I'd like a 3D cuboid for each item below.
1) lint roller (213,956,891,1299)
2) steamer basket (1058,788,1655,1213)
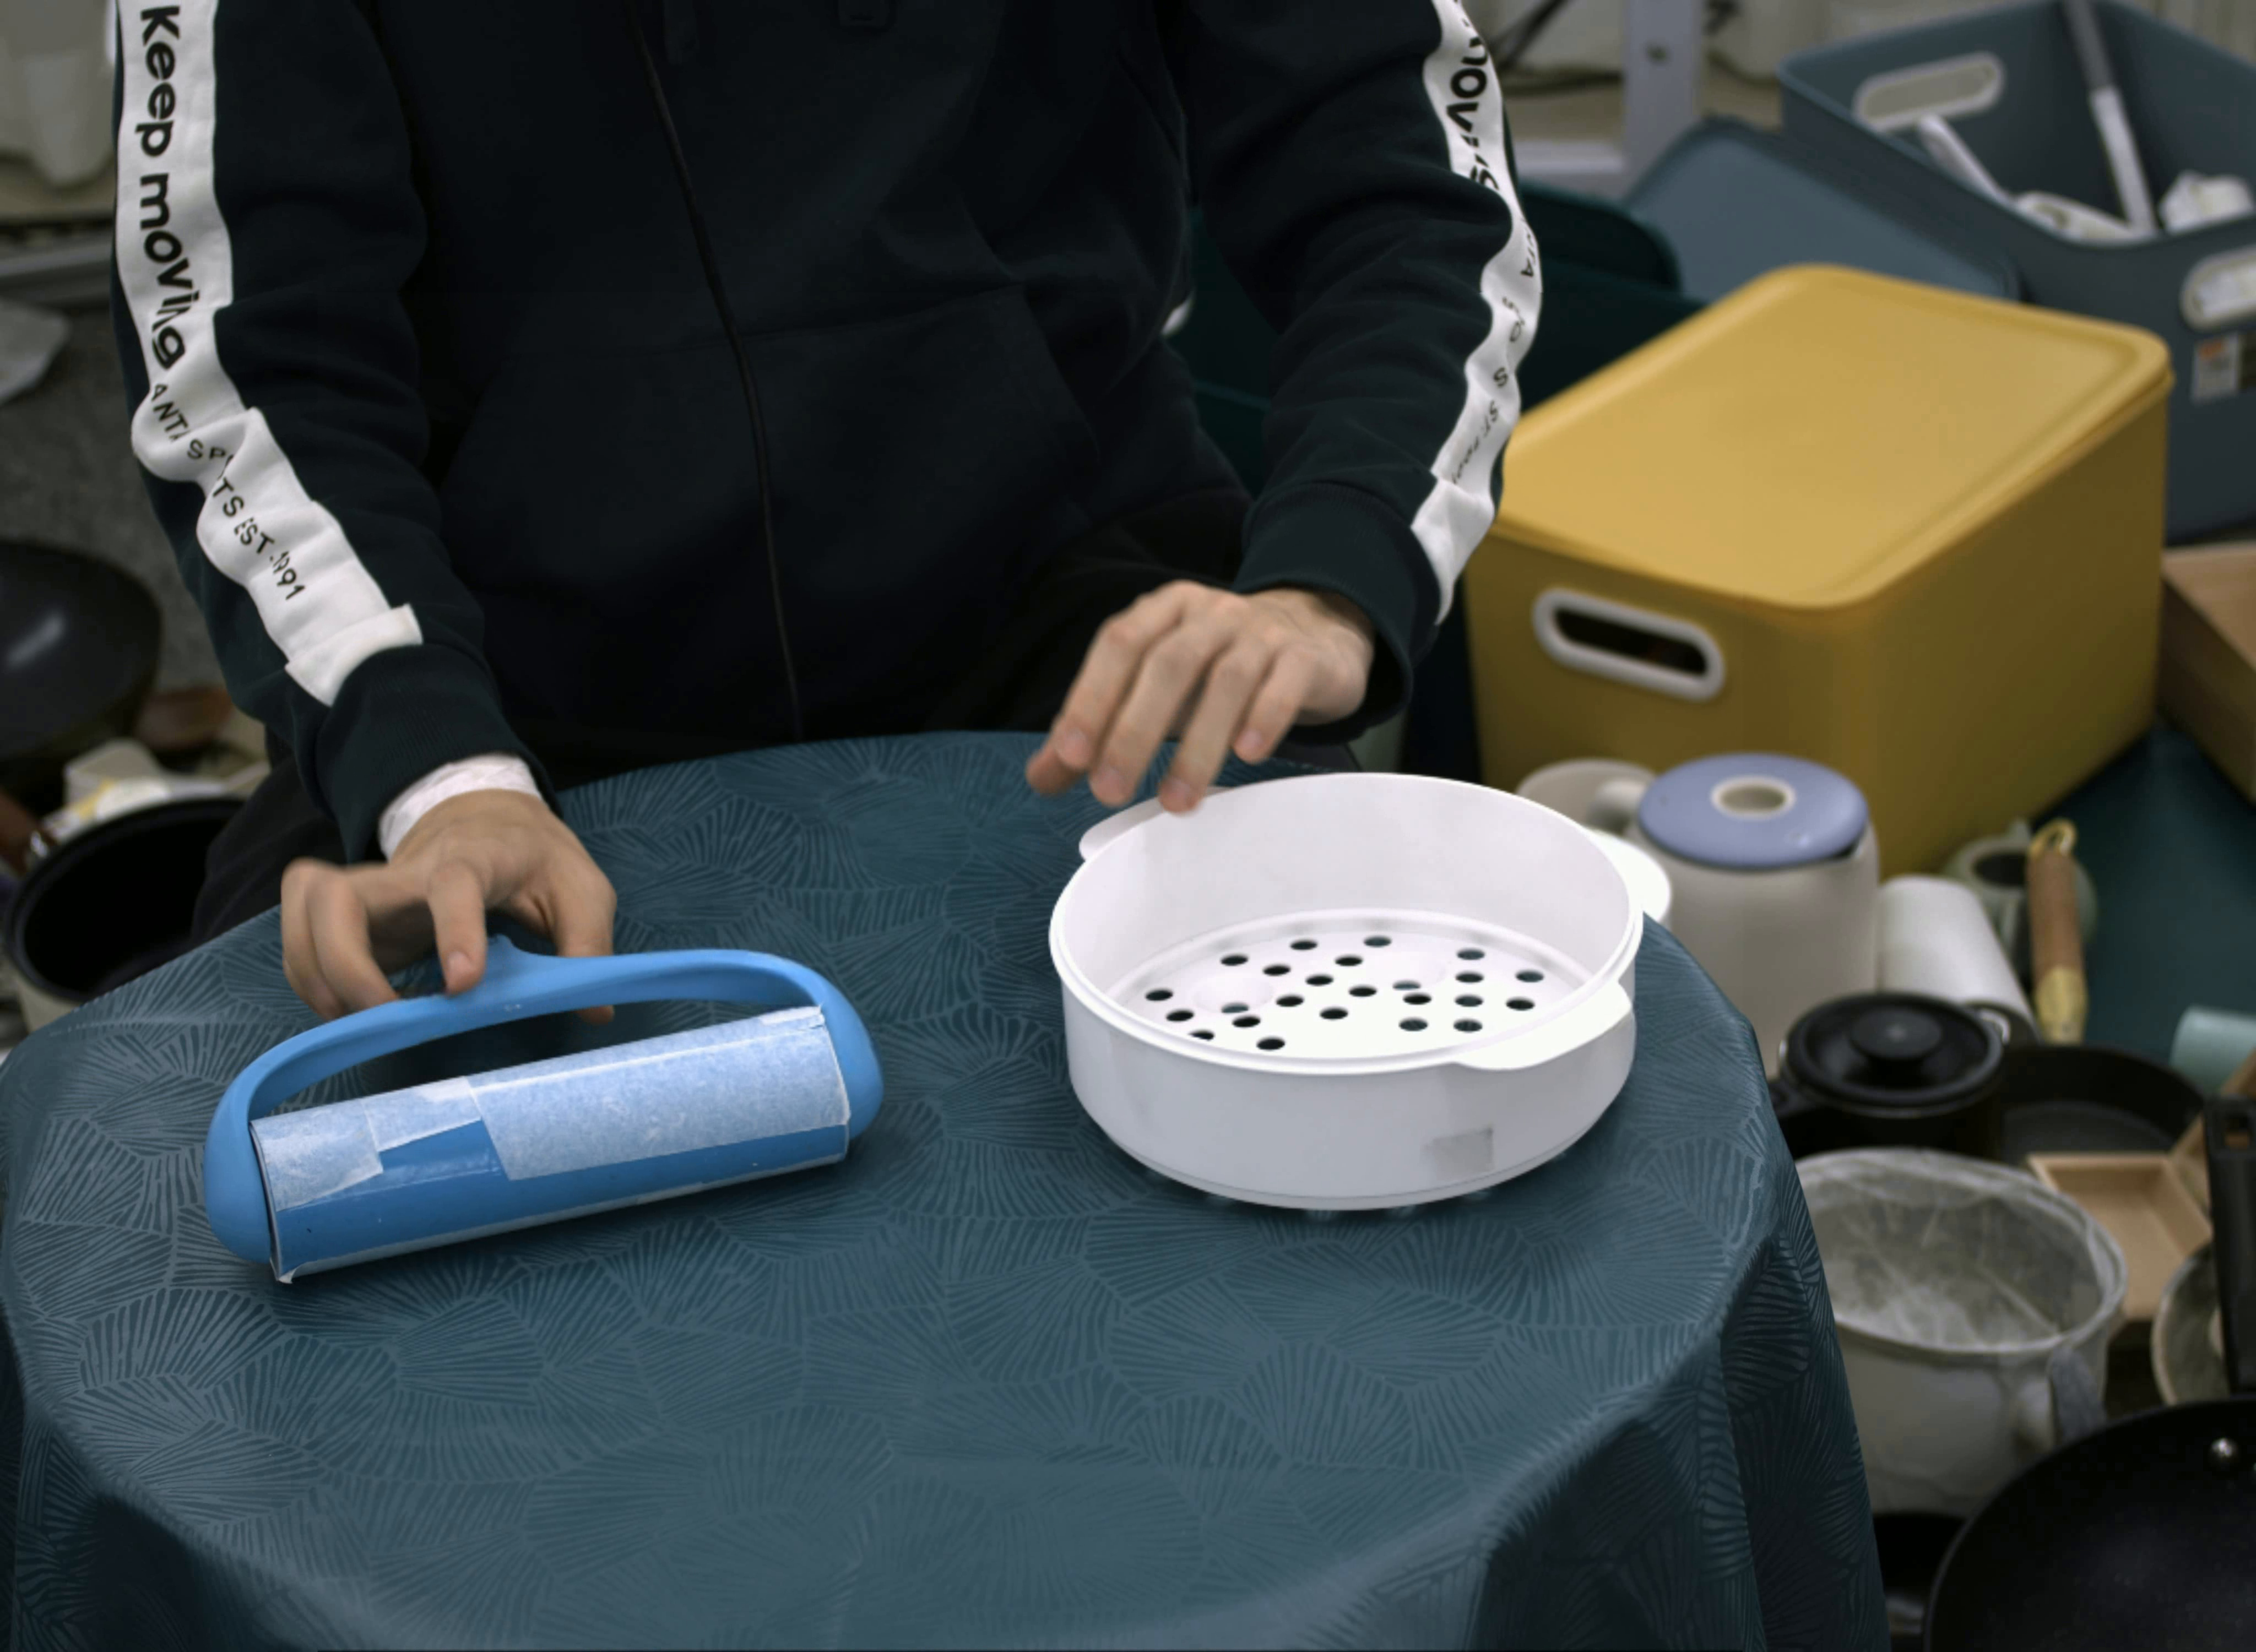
[{"bbox_3d":[-0.210,0.080,1.899,0.229,0.067,0.182,-15,32,-18],"label":"lint roller"},{"bbox_3d":[0.078,0.059,1.900,0.204,0.068,0.230,-22,32,-34],"label":"steamer basket"}]
